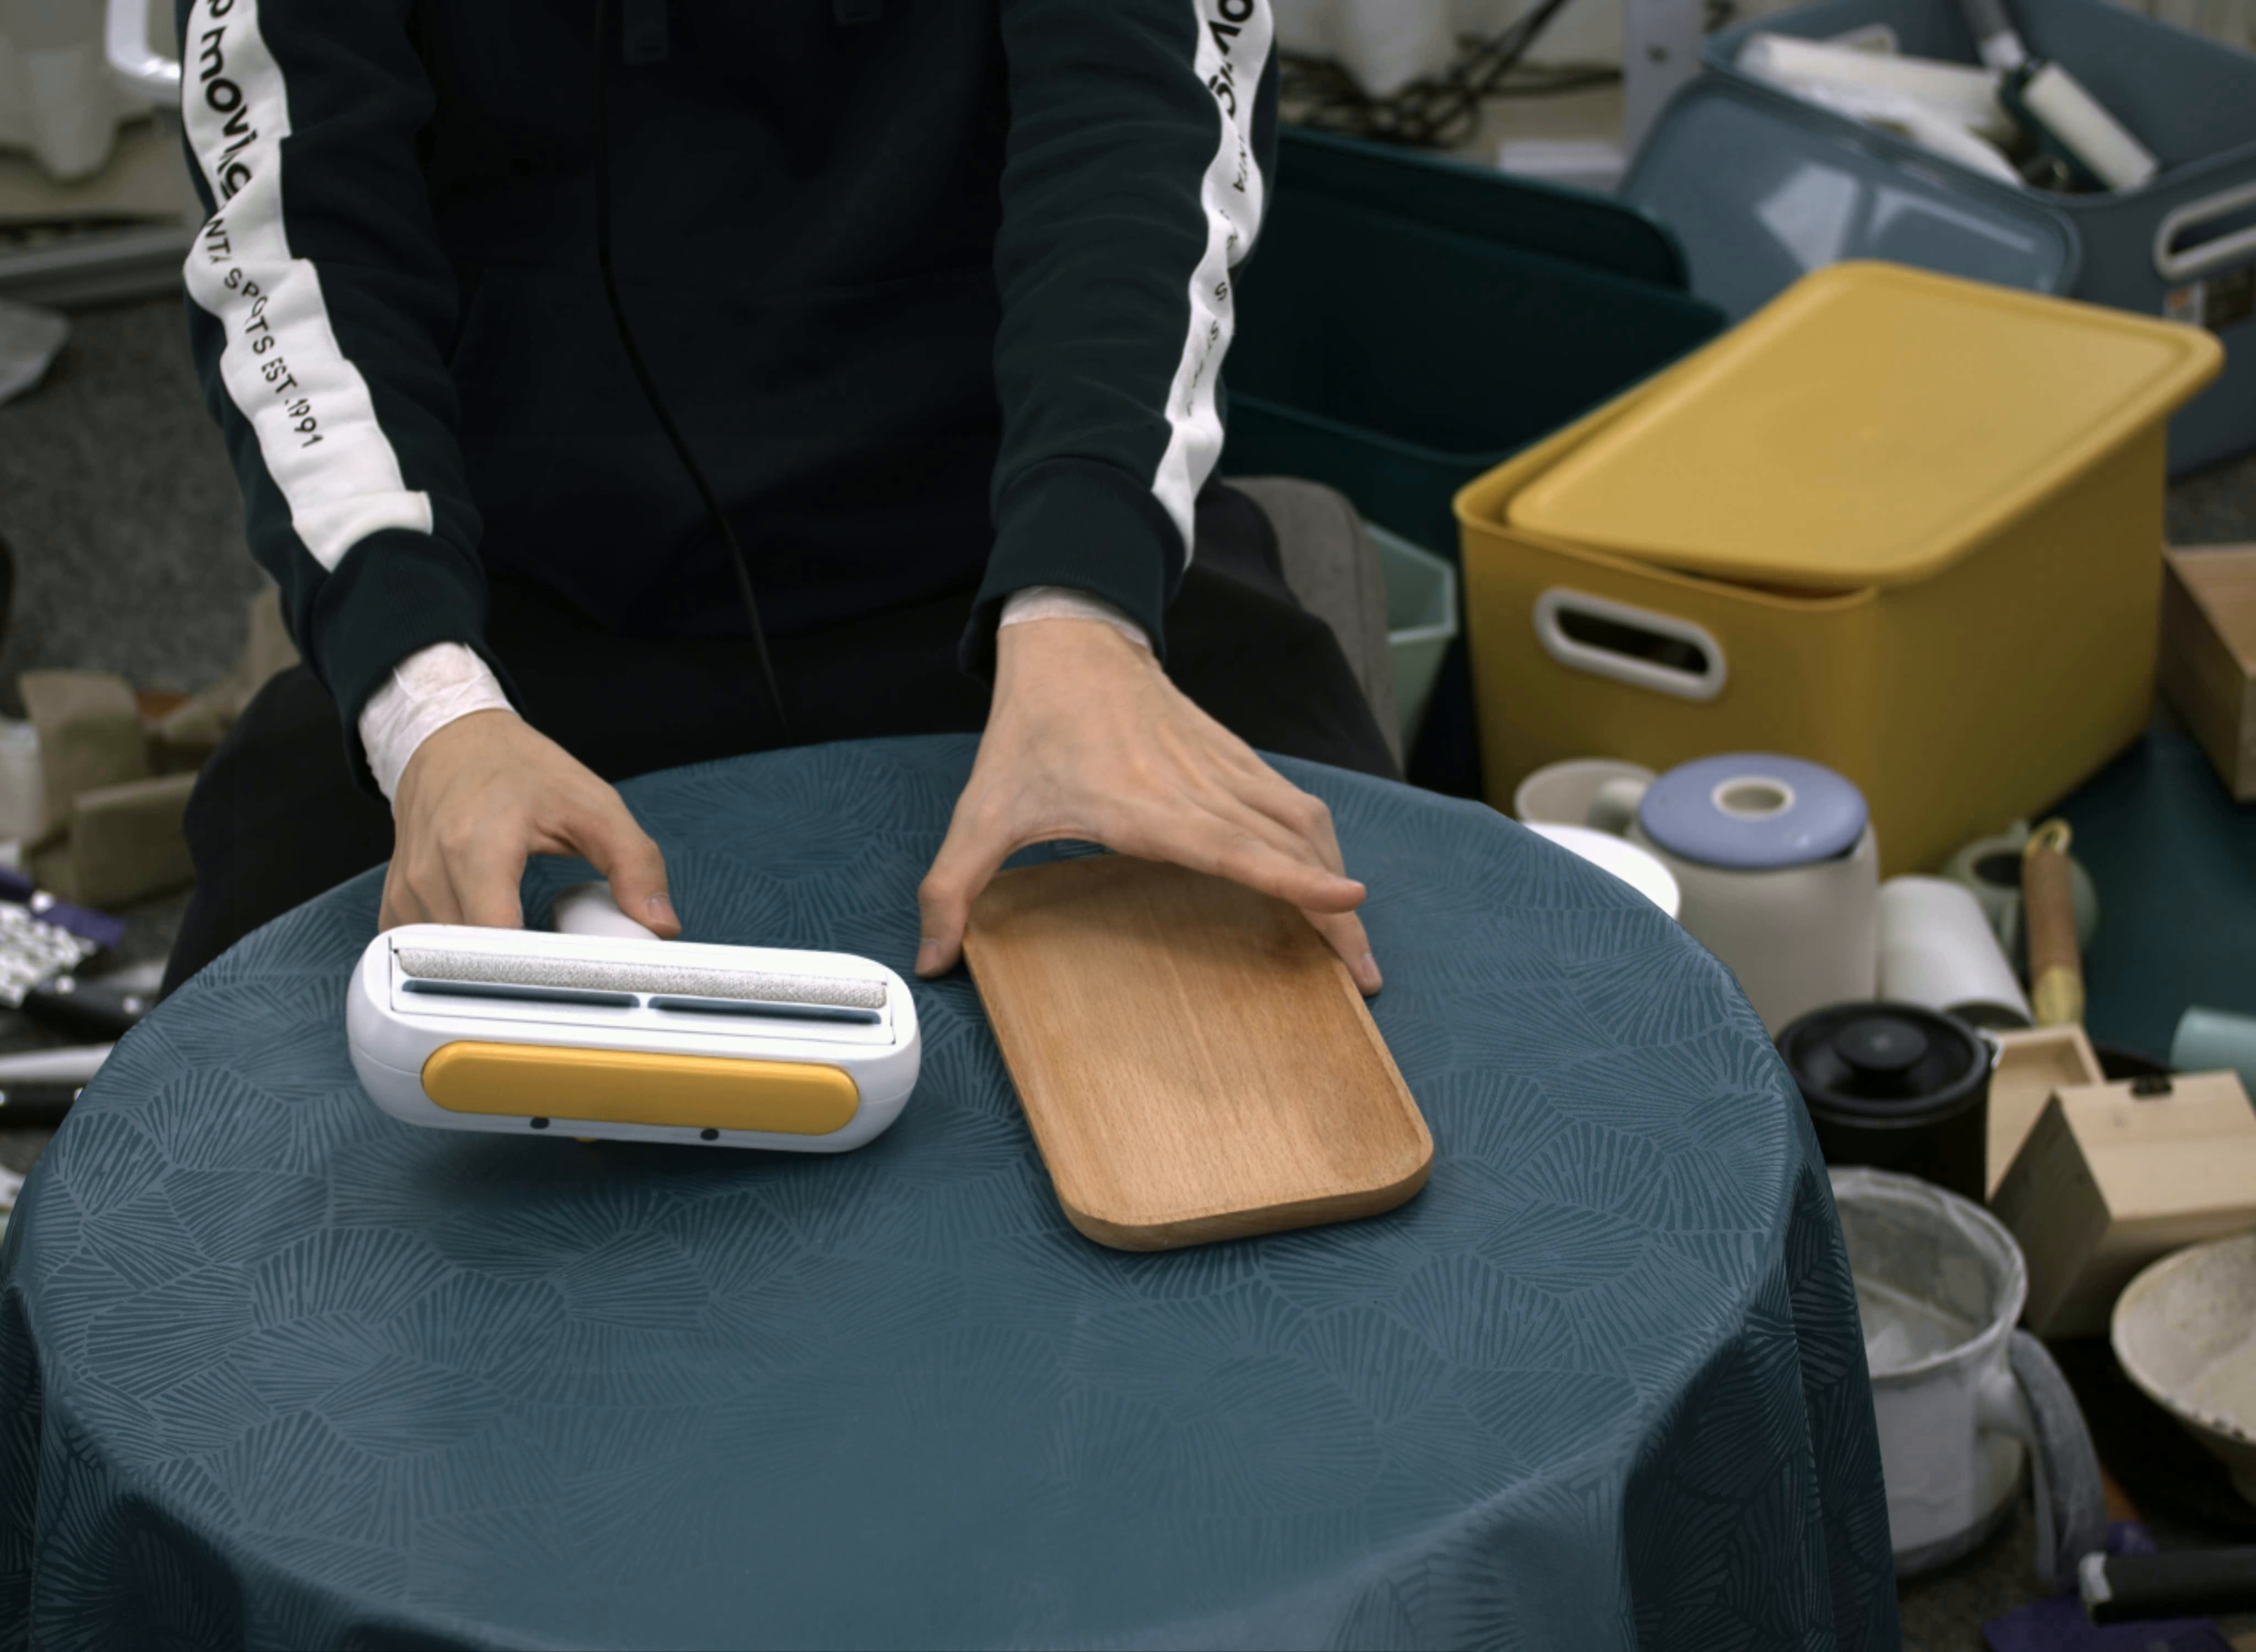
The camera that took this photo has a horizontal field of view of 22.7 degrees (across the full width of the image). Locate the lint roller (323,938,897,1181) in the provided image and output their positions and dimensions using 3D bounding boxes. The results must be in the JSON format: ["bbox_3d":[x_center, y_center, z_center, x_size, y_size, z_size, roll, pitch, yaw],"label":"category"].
[{"bbox_3d":[-0.178,0.071,1.940,0.192,0.074,0.193,4,12,-6],"label":"lint roller"}]

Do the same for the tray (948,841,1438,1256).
[{"bbox_3d":[0.019,0.074,1.933,0.130,0.022,0.253,-6,27,-10],"label":"tray"}]
